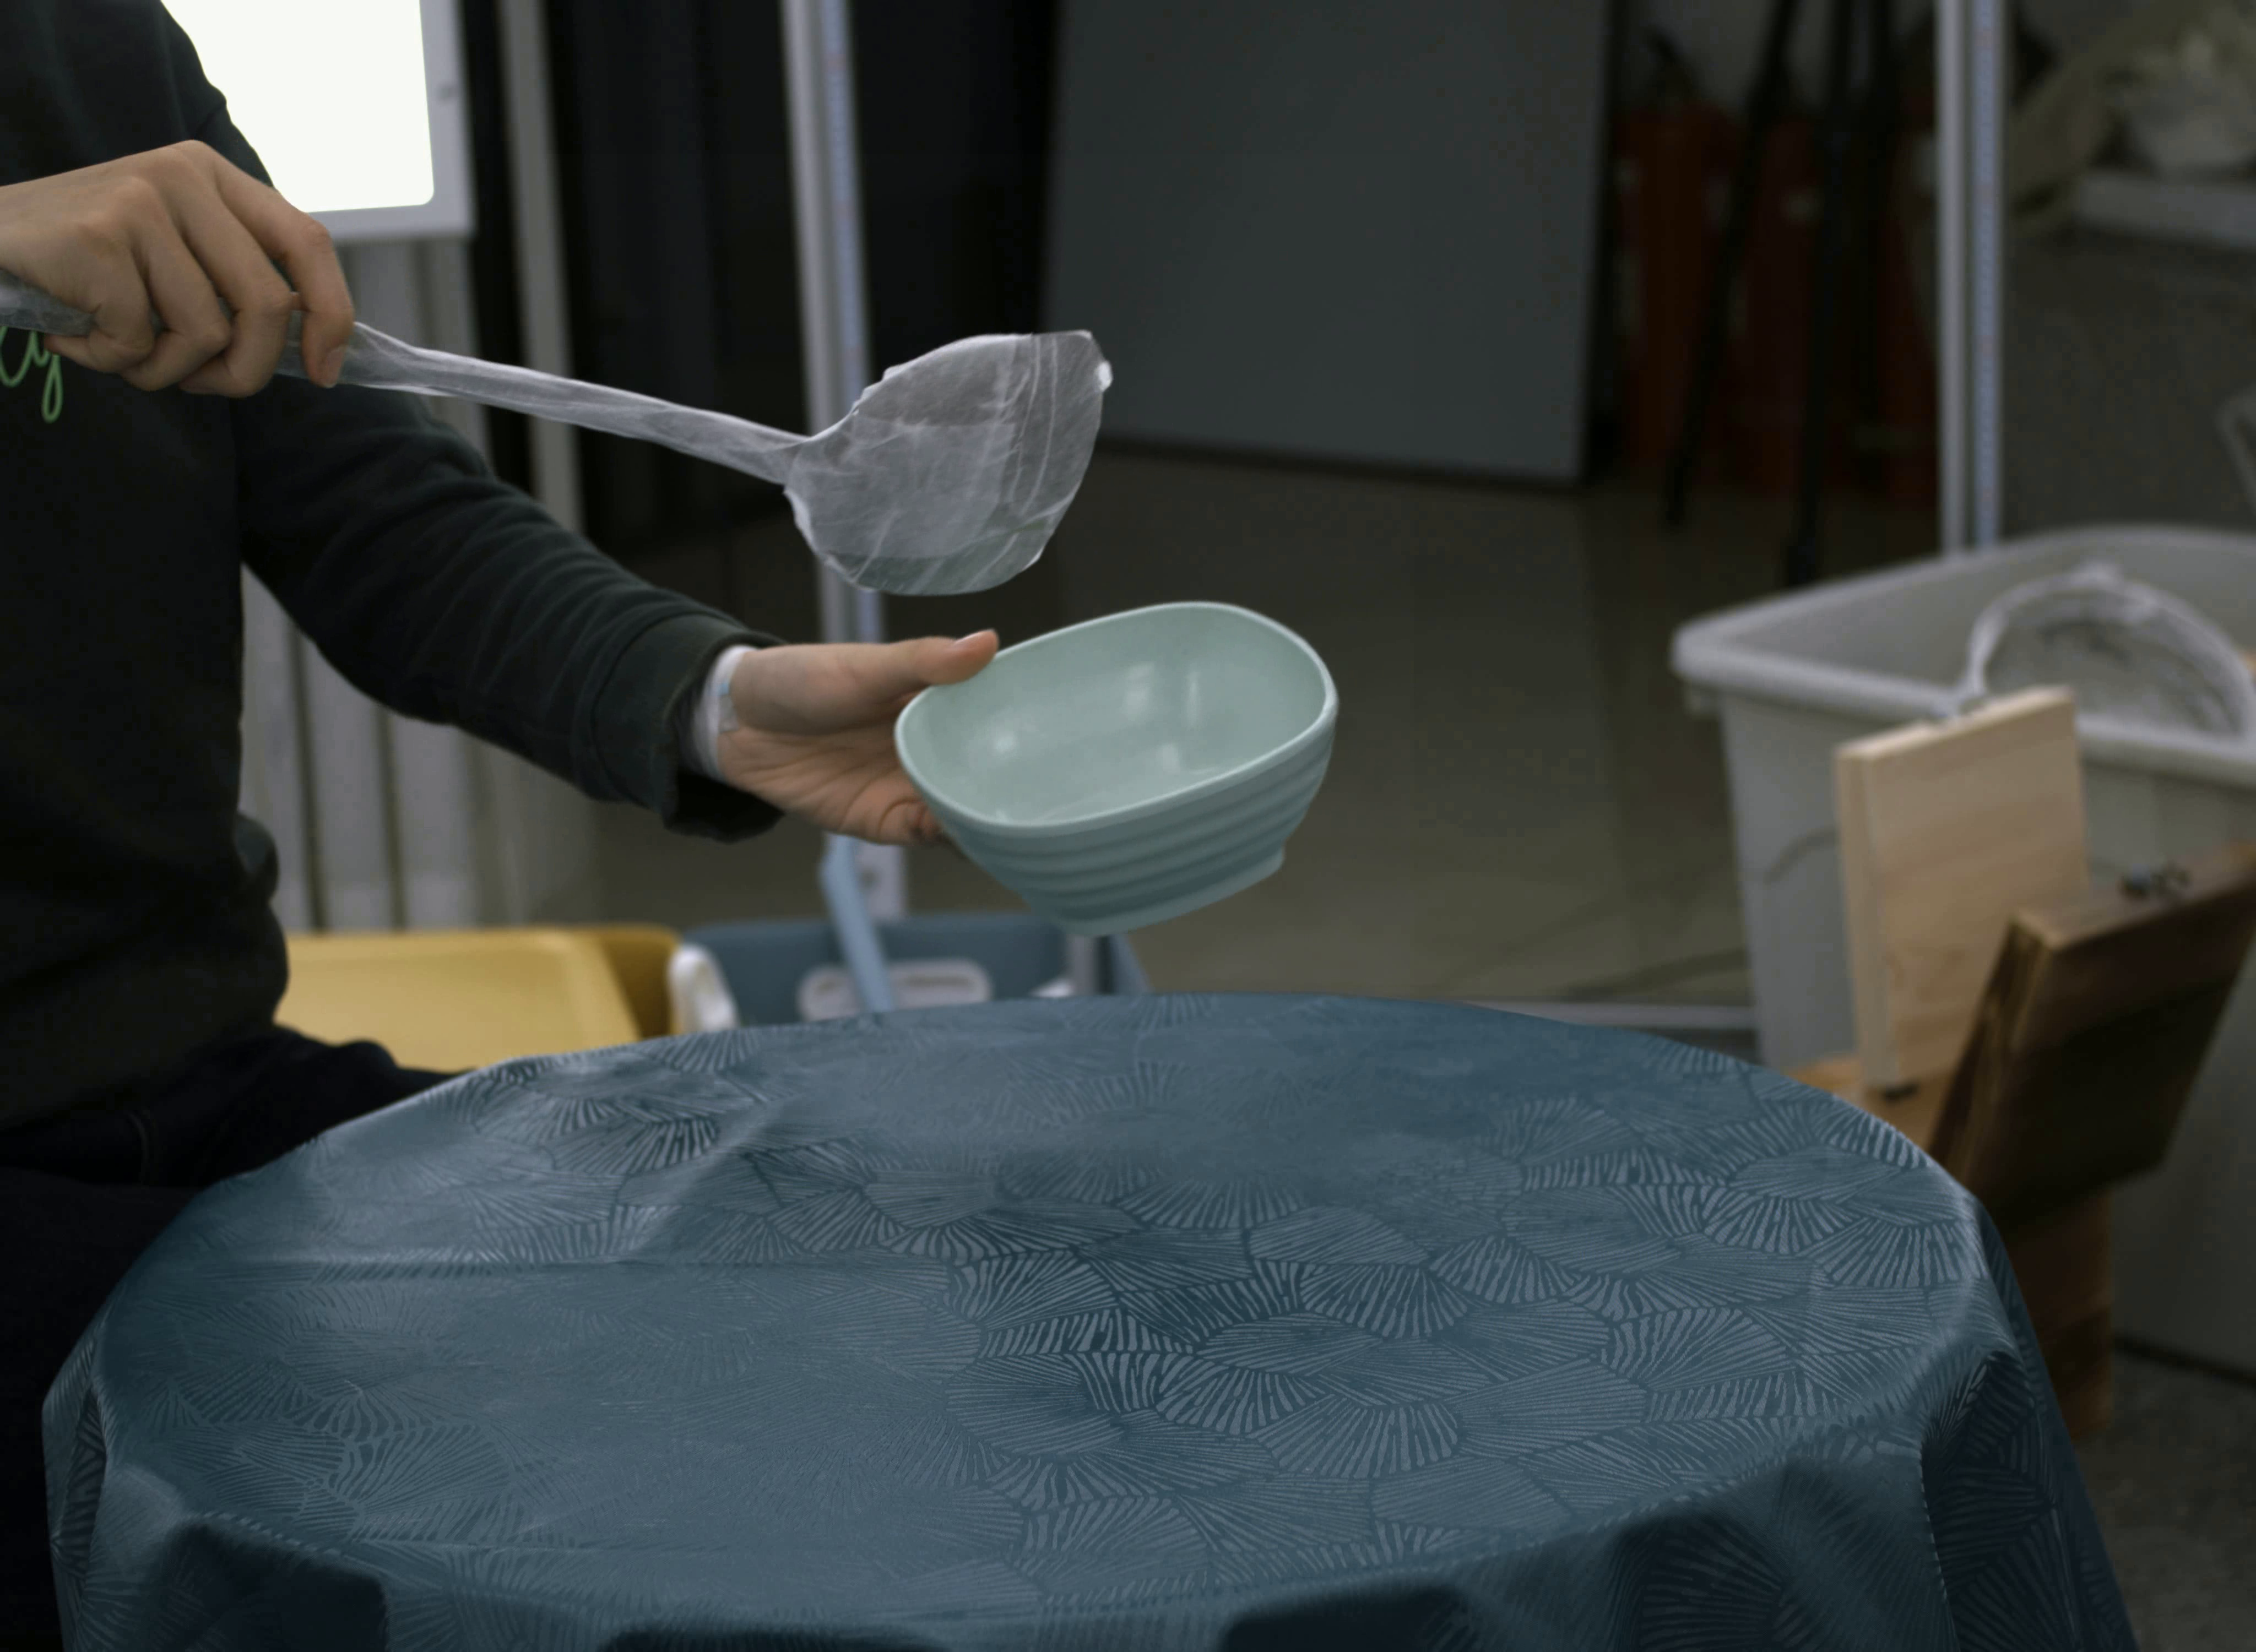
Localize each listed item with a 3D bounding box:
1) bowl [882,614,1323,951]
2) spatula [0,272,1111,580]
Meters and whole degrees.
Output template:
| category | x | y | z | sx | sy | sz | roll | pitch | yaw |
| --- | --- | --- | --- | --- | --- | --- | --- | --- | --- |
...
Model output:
| category | x | y | z | sx | sy | sz | roll | pitch | yaw |
| --- | --- | --- | --- | --- | --- | --- | --- | --- | --- |
| bowl | -0.005 | -0.009 | 1.741 | 0.150 | 0.059 | 0.152 | -10 | 27 | 4 |
| spatula | -0.174 | -0.134 | 1.628 | 0.357 | 0.100 | 0.045 | 9 | 33 | -18 |
